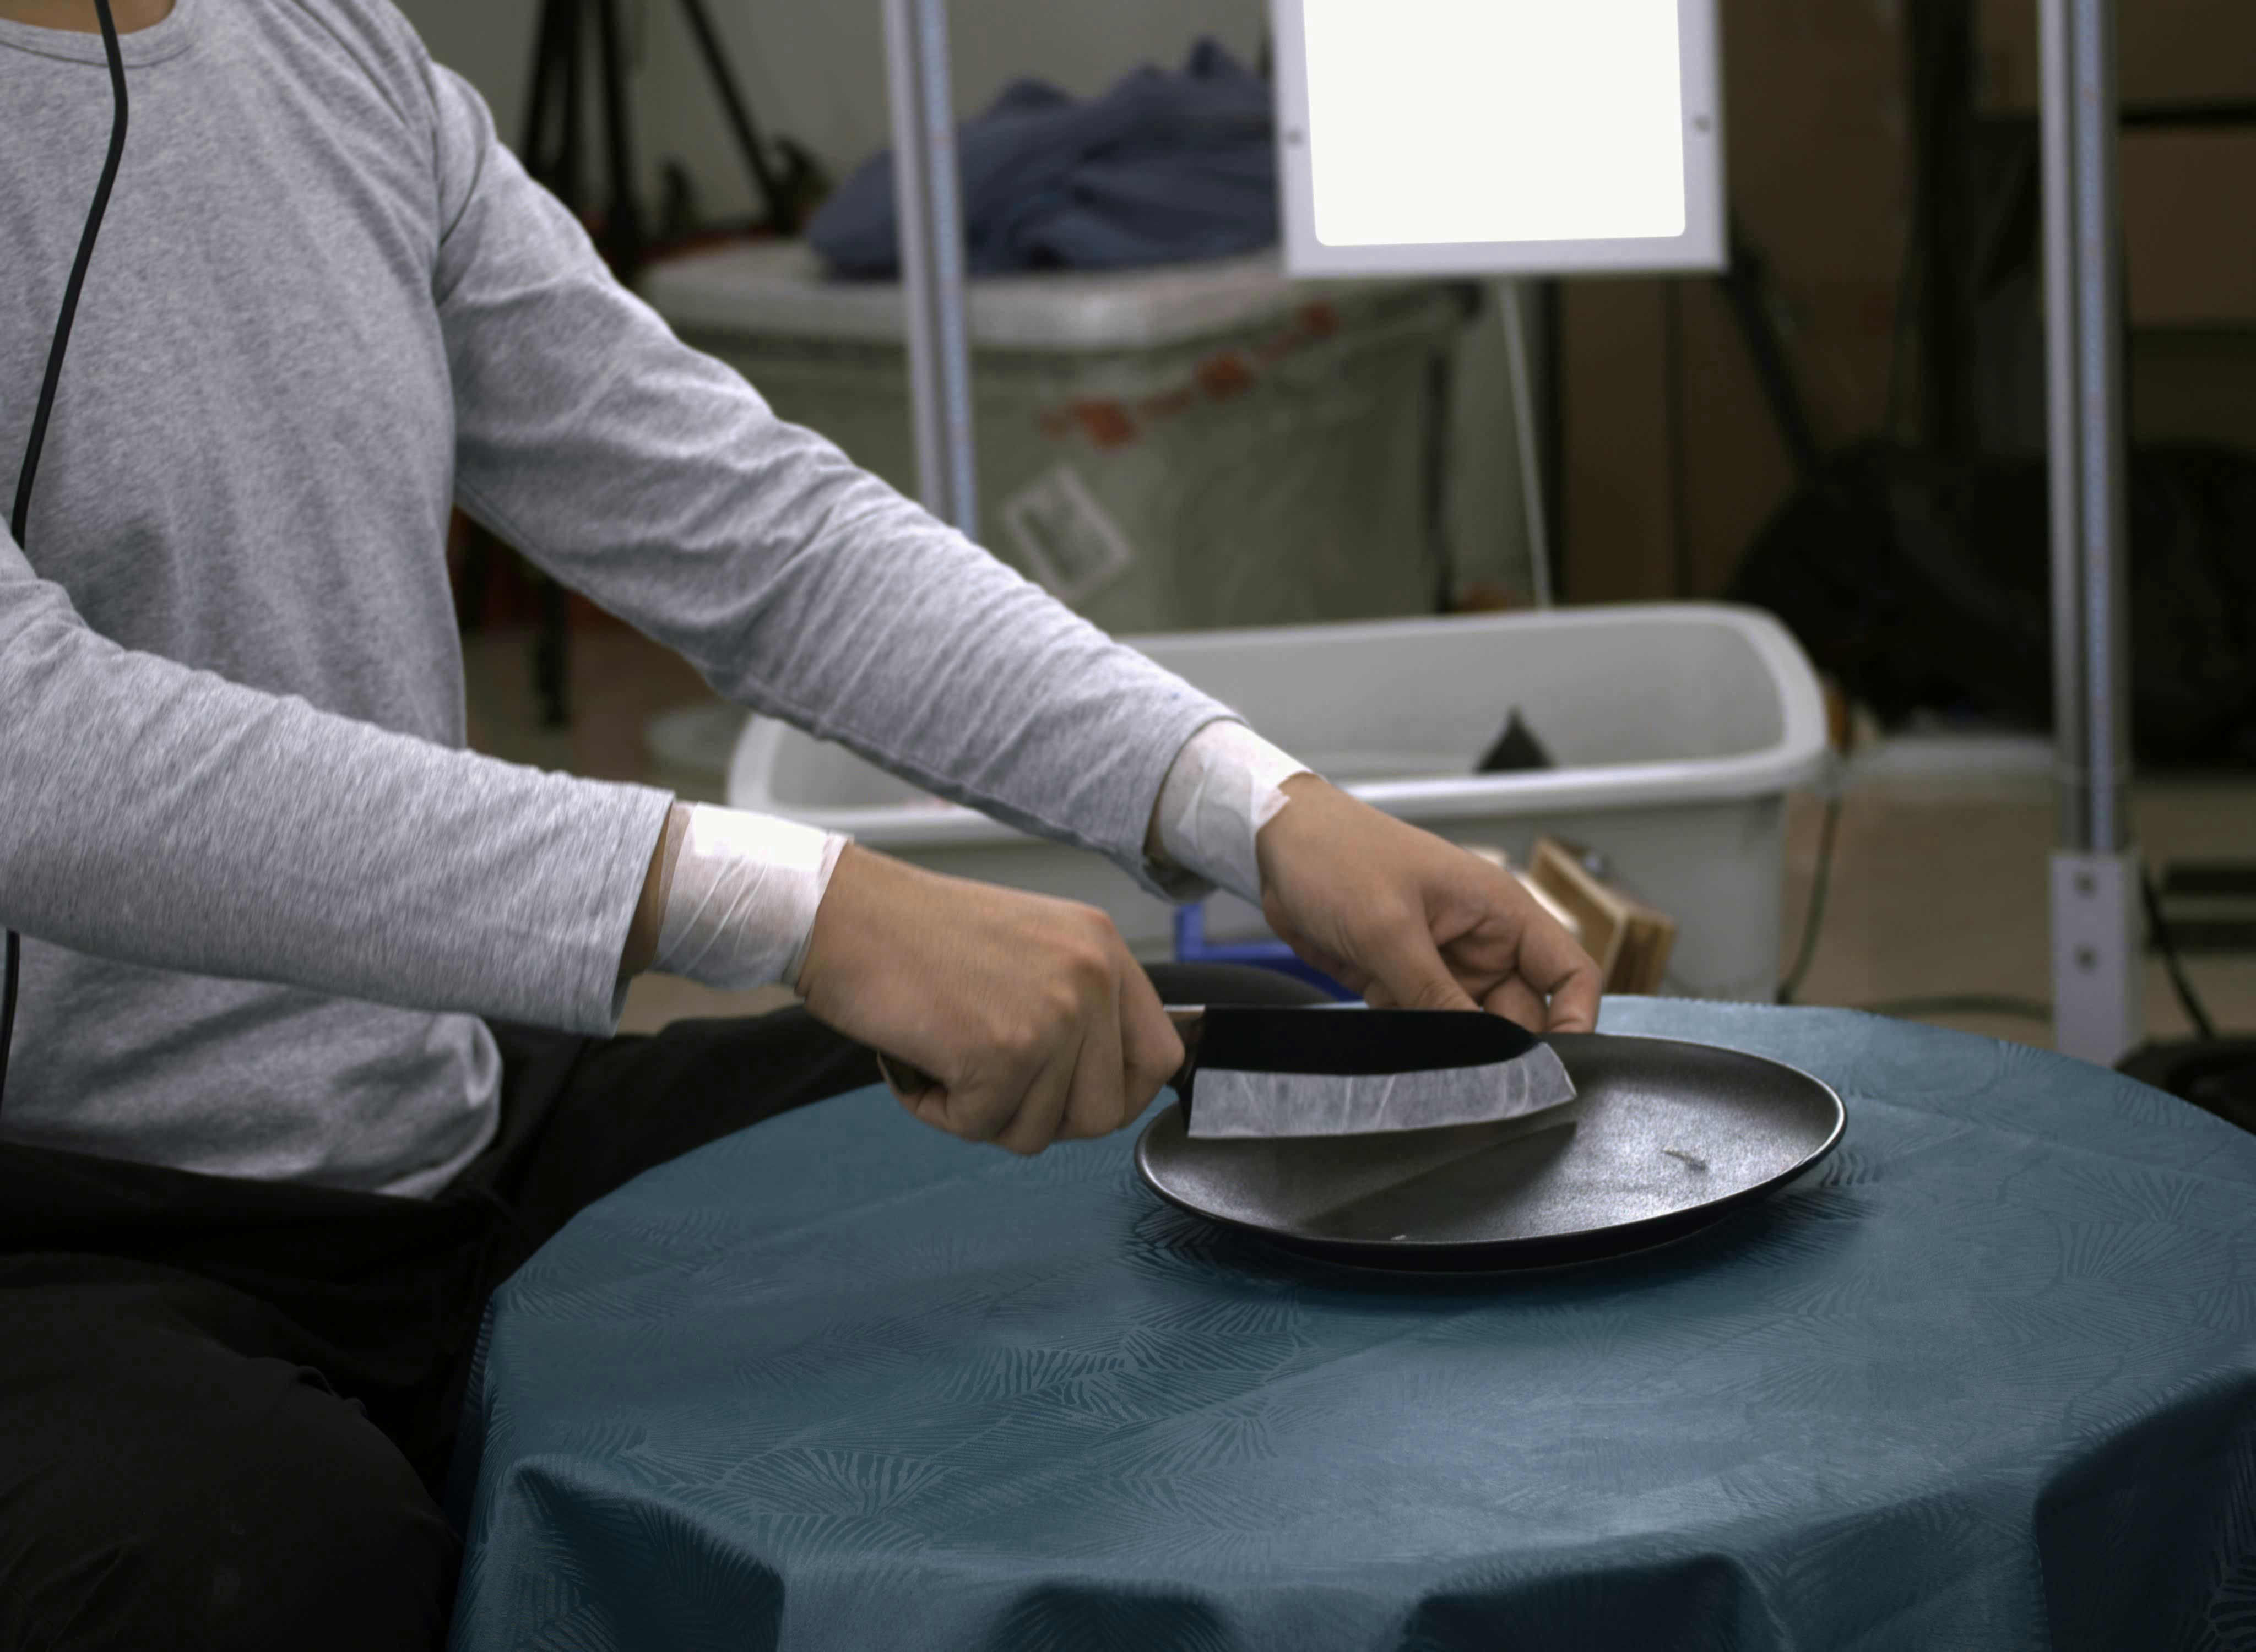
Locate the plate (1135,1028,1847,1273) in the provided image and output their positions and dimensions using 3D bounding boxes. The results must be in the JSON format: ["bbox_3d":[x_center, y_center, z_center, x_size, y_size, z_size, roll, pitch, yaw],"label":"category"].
[{"bbox_3d":[0.123,0.112,1.867,0.244,0.023,0.244,-5,14,0],"label":"plate"}]

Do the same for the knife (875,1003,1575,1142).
[{"bbox_3d":[0.039,0.081,1.840,0.282,0.050,0.020,4,5,-33],"label":"knife"}]
